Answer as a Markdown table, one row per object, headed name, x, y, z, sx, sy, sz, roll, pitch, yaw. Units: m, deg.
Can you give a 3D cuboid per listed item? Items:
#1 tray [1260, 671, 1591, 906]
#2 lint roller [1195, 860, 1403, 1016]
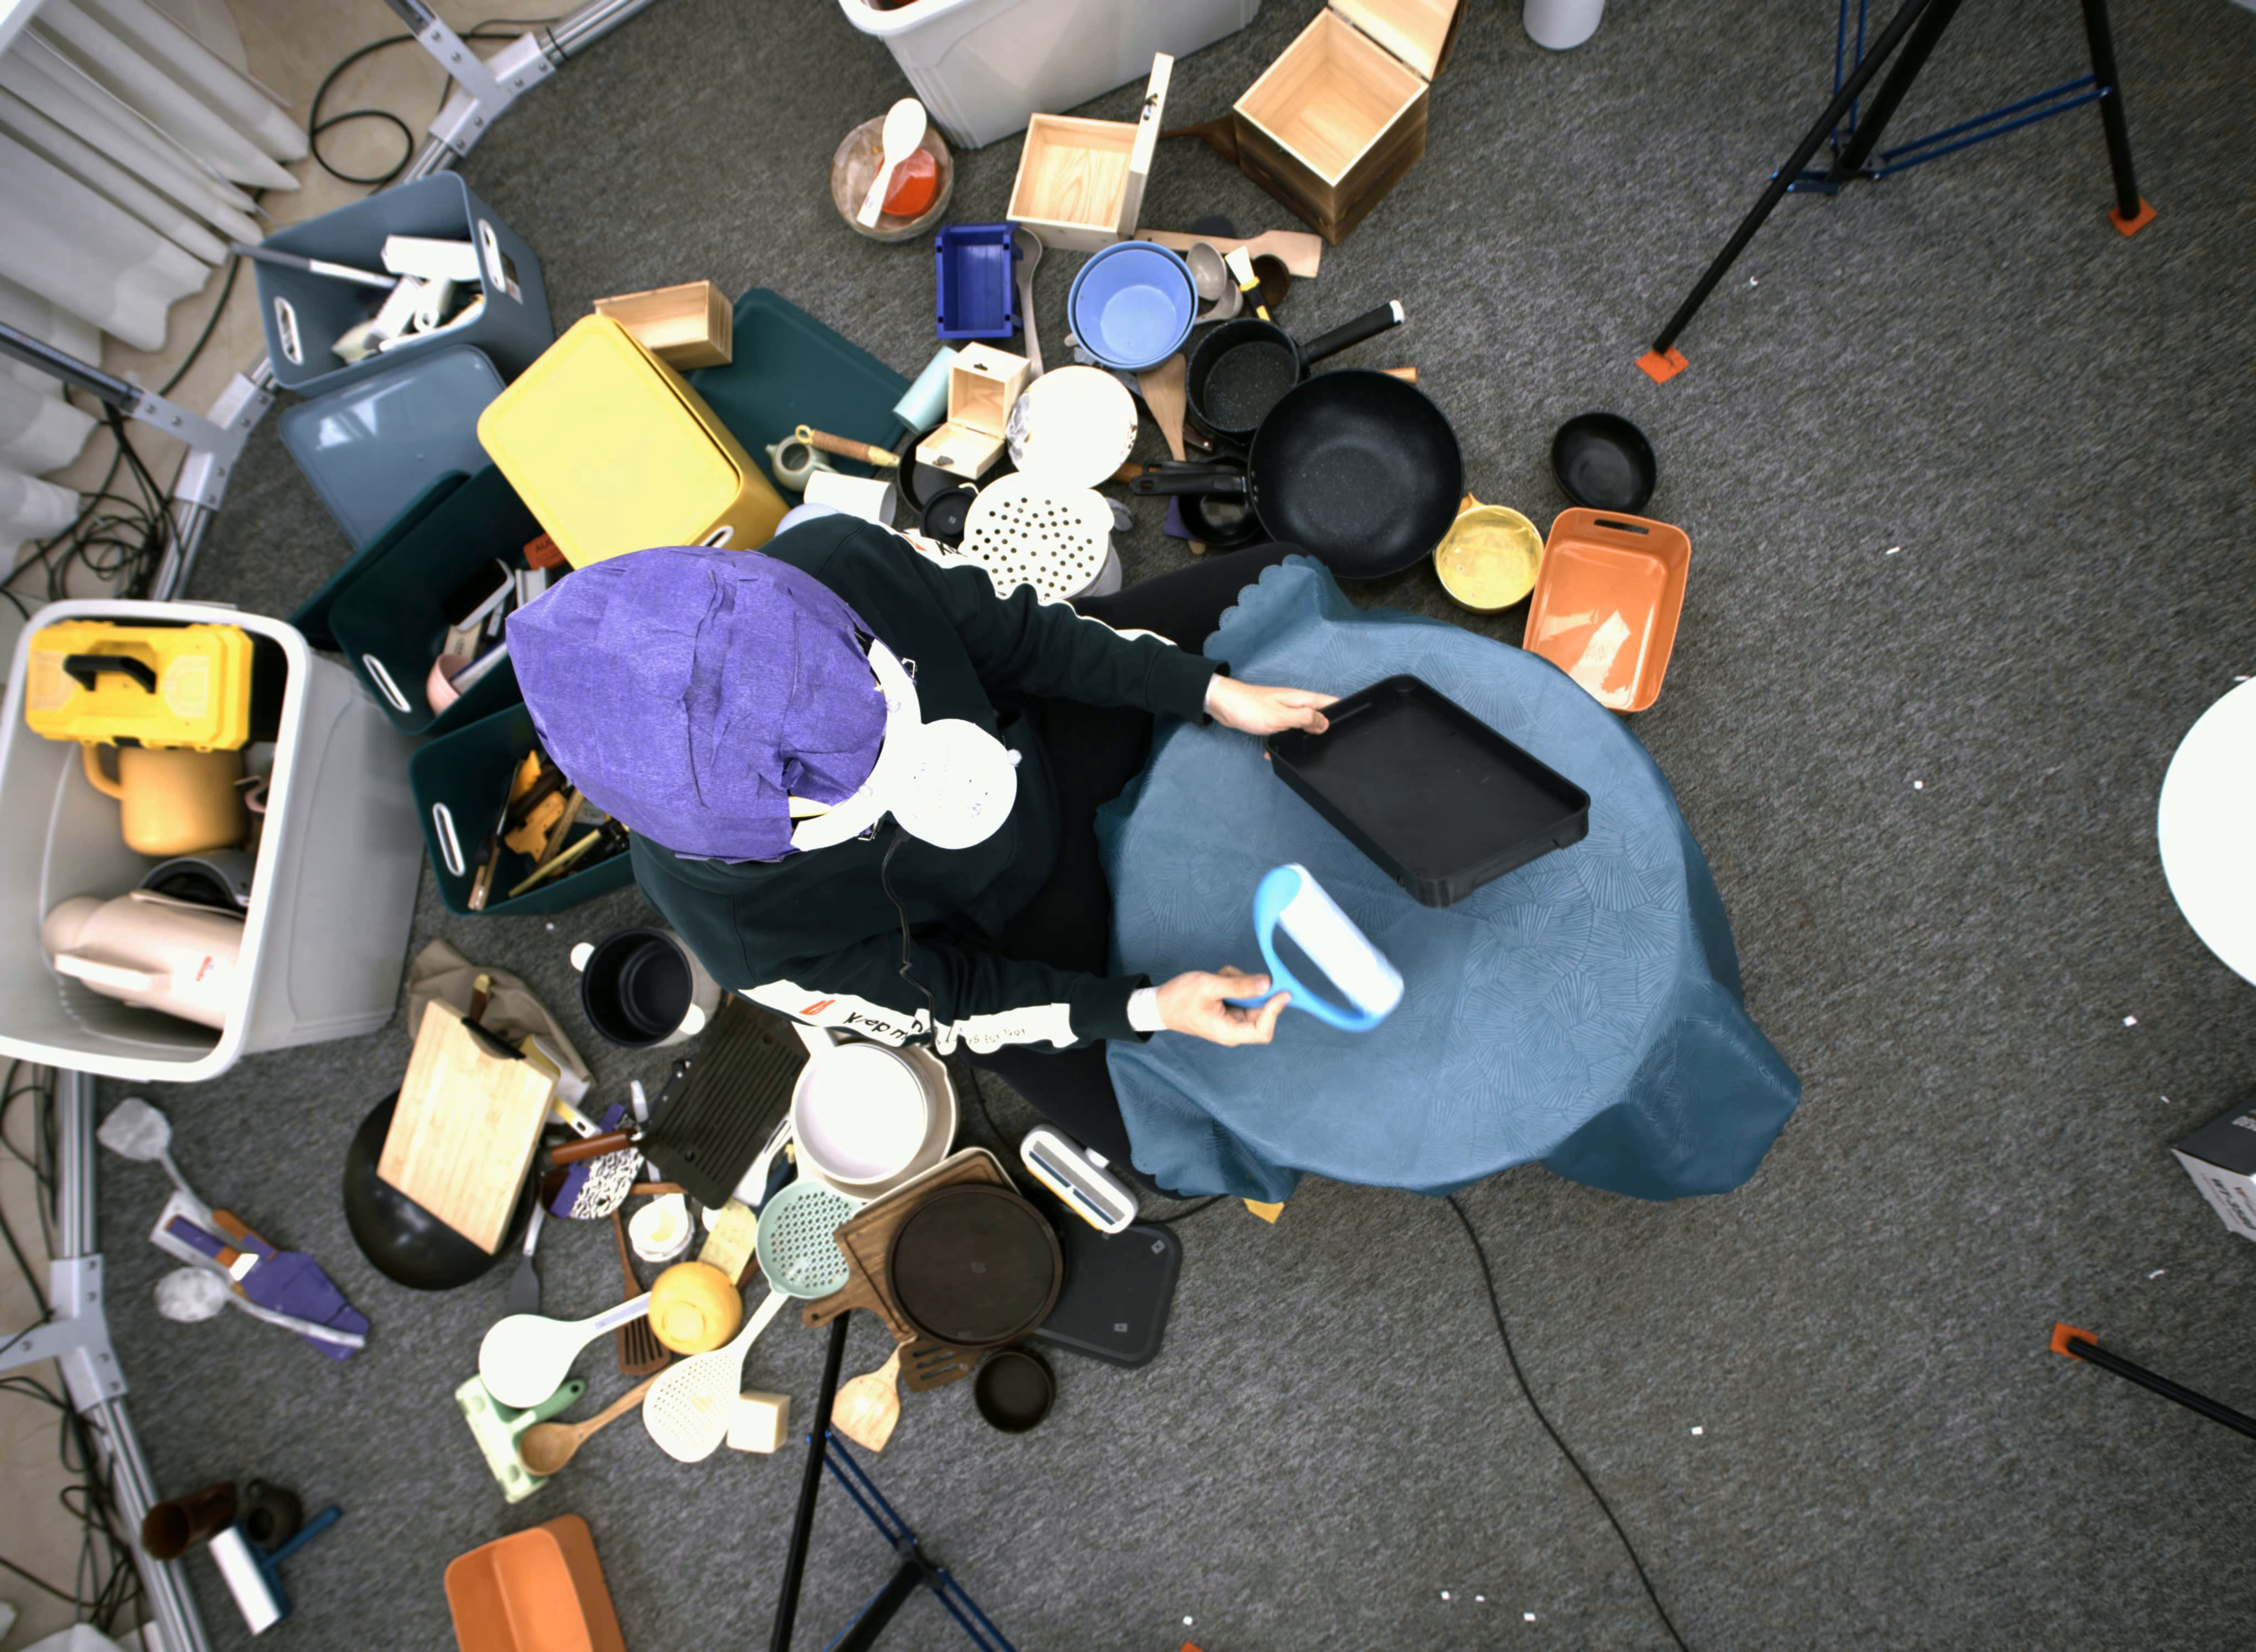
| name | x | y | z | sx | sy | sz | roll | pitch | yaw |
| --- | --- | --- | --- | --- | --- | --- | --- | --- | --- |
| tray | 0.277 | -0.047 | 1.324 | 0.183 | 0.038 | 0.313 | -27 | 37 | -11 |
| lint roller | 0.146 | 0.134 | 1.334 | 0.183 | 0.231 | 0.066 | -34 | 43 | 22 |
